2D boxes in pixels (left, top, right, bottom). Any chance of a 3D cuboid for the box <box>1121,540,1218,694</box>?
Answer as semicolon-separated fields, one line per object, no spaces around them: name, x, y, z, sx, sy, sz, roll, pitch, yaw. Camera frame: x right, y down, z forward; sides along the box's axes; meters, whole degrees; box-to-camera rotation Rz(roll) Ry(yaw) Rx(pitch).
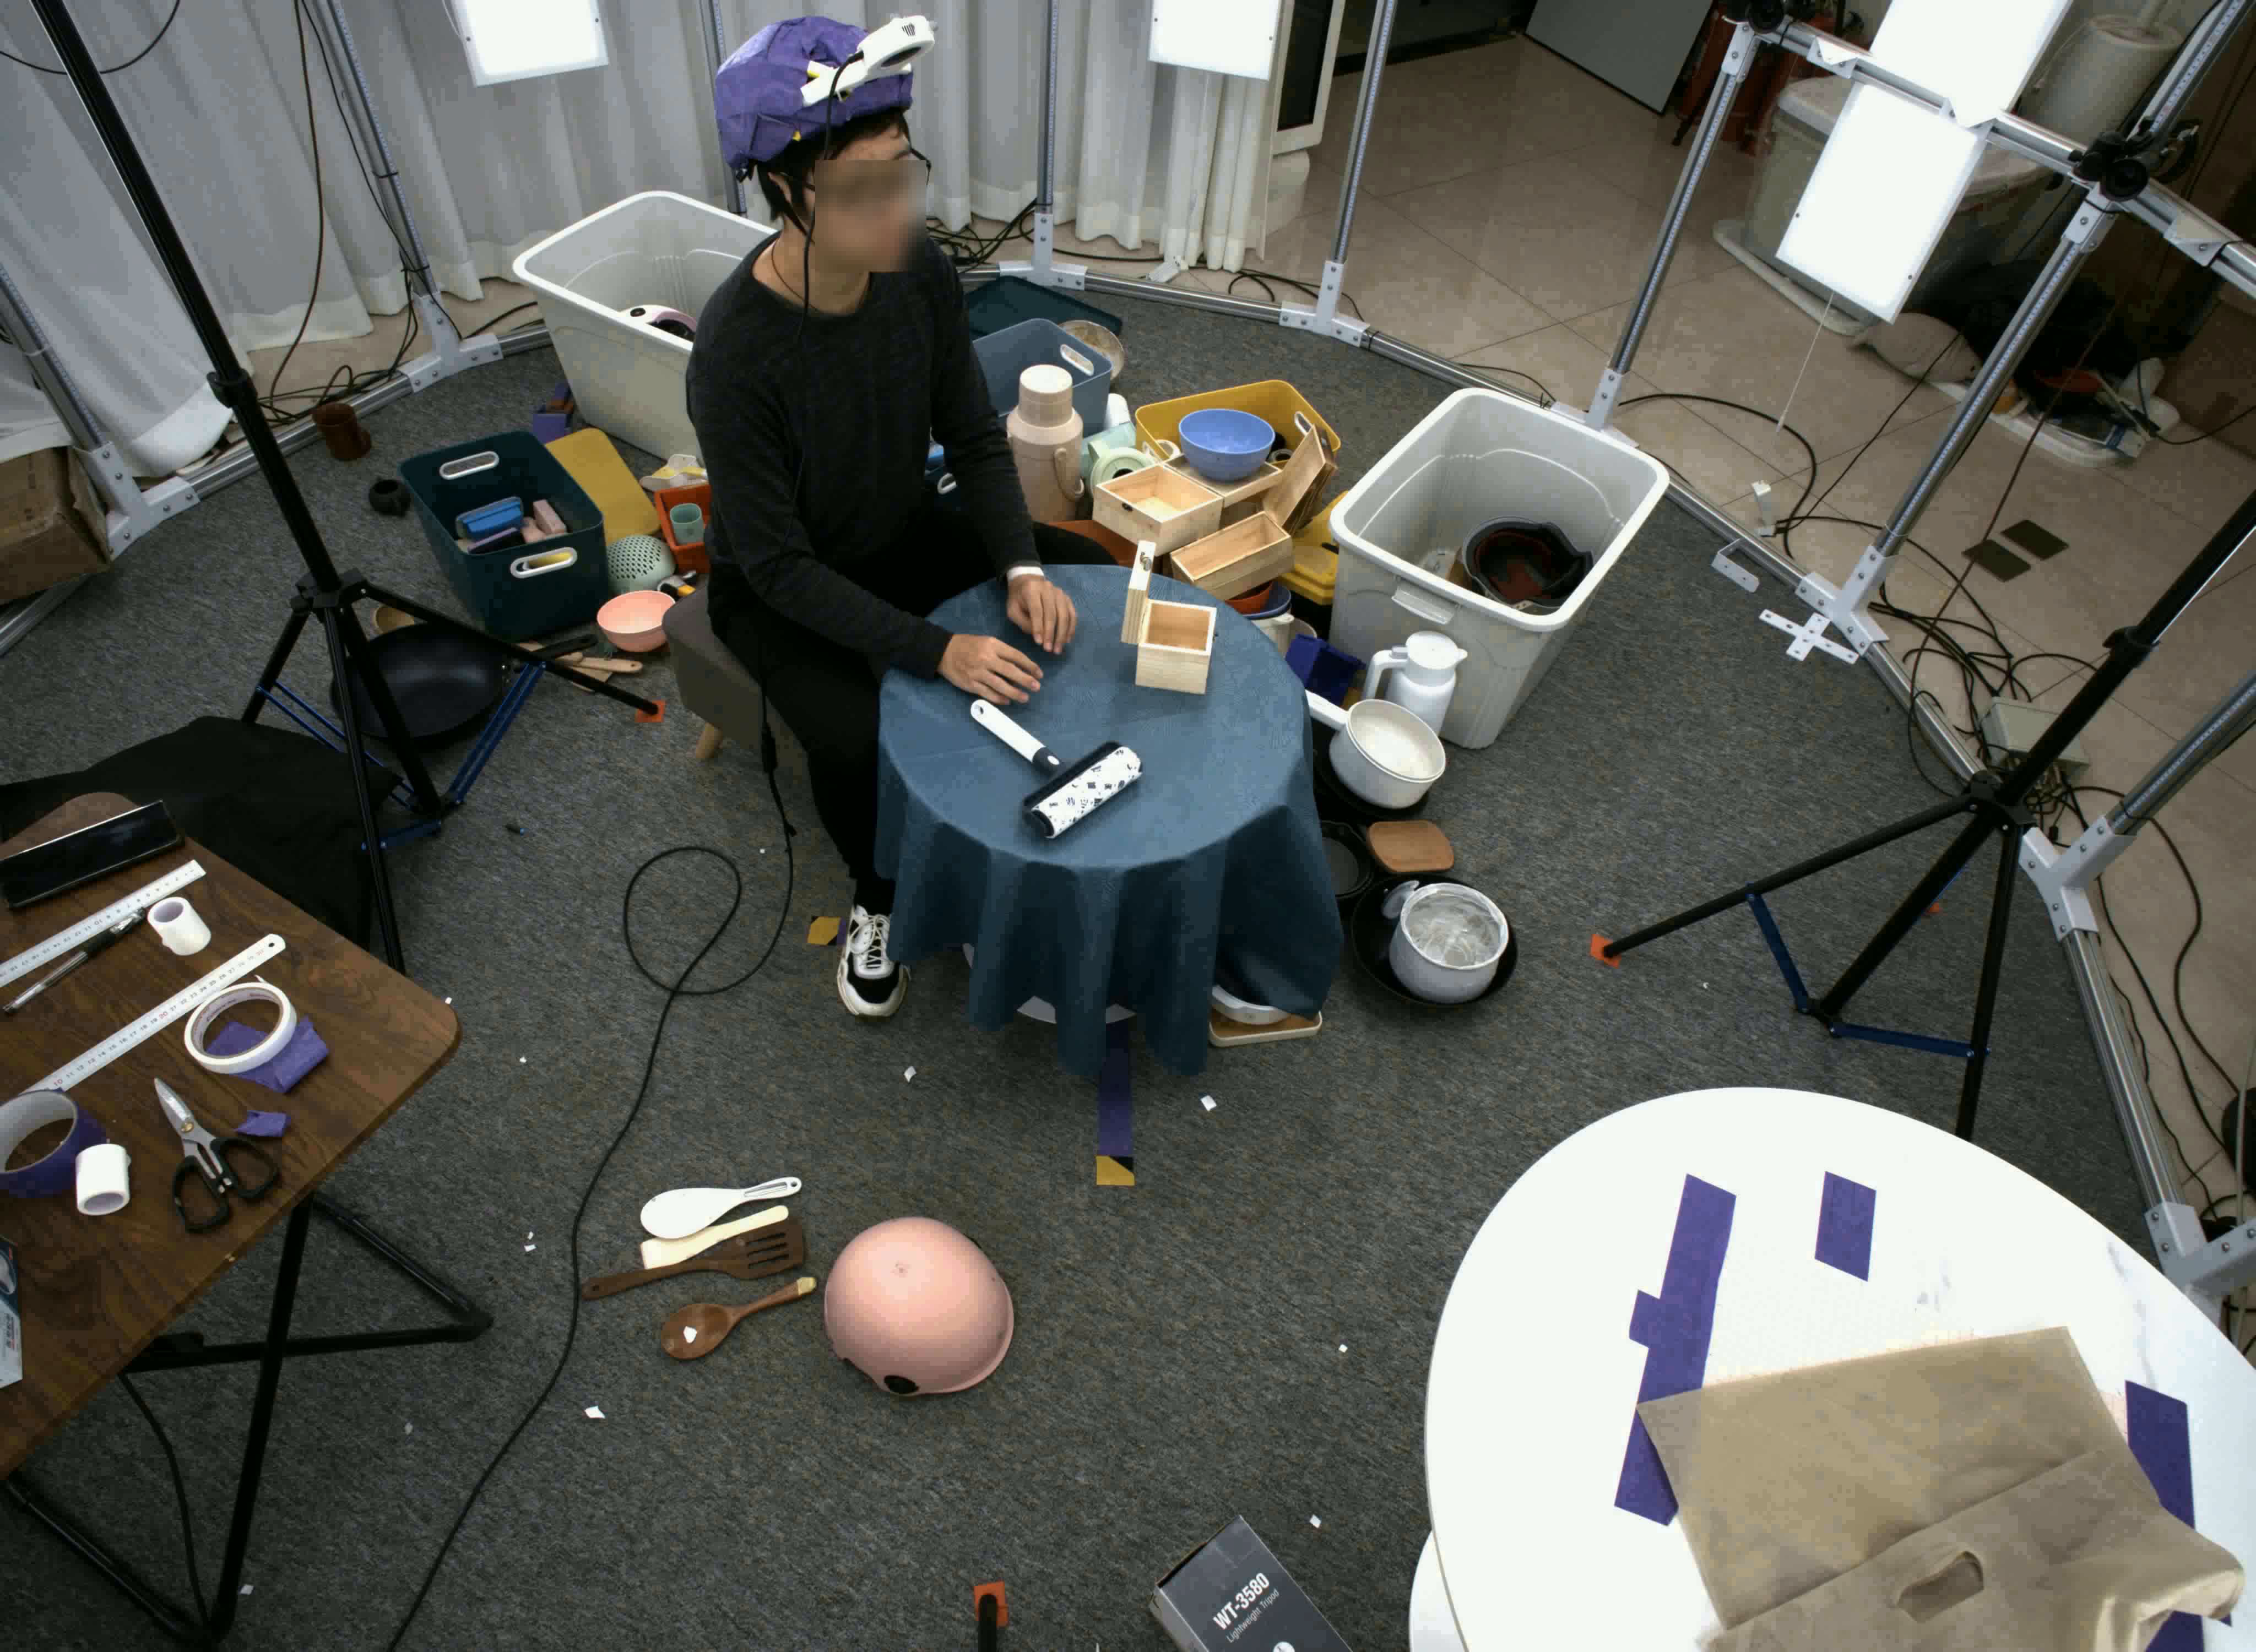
box;0.063;-0.293;1.811;0.134;0.180;0.105;8;49;3

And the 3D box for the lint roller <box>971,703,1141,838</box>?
lint roller;-0.127;-0.101;1.721;0.251;0.049;0.178;38;58;26
